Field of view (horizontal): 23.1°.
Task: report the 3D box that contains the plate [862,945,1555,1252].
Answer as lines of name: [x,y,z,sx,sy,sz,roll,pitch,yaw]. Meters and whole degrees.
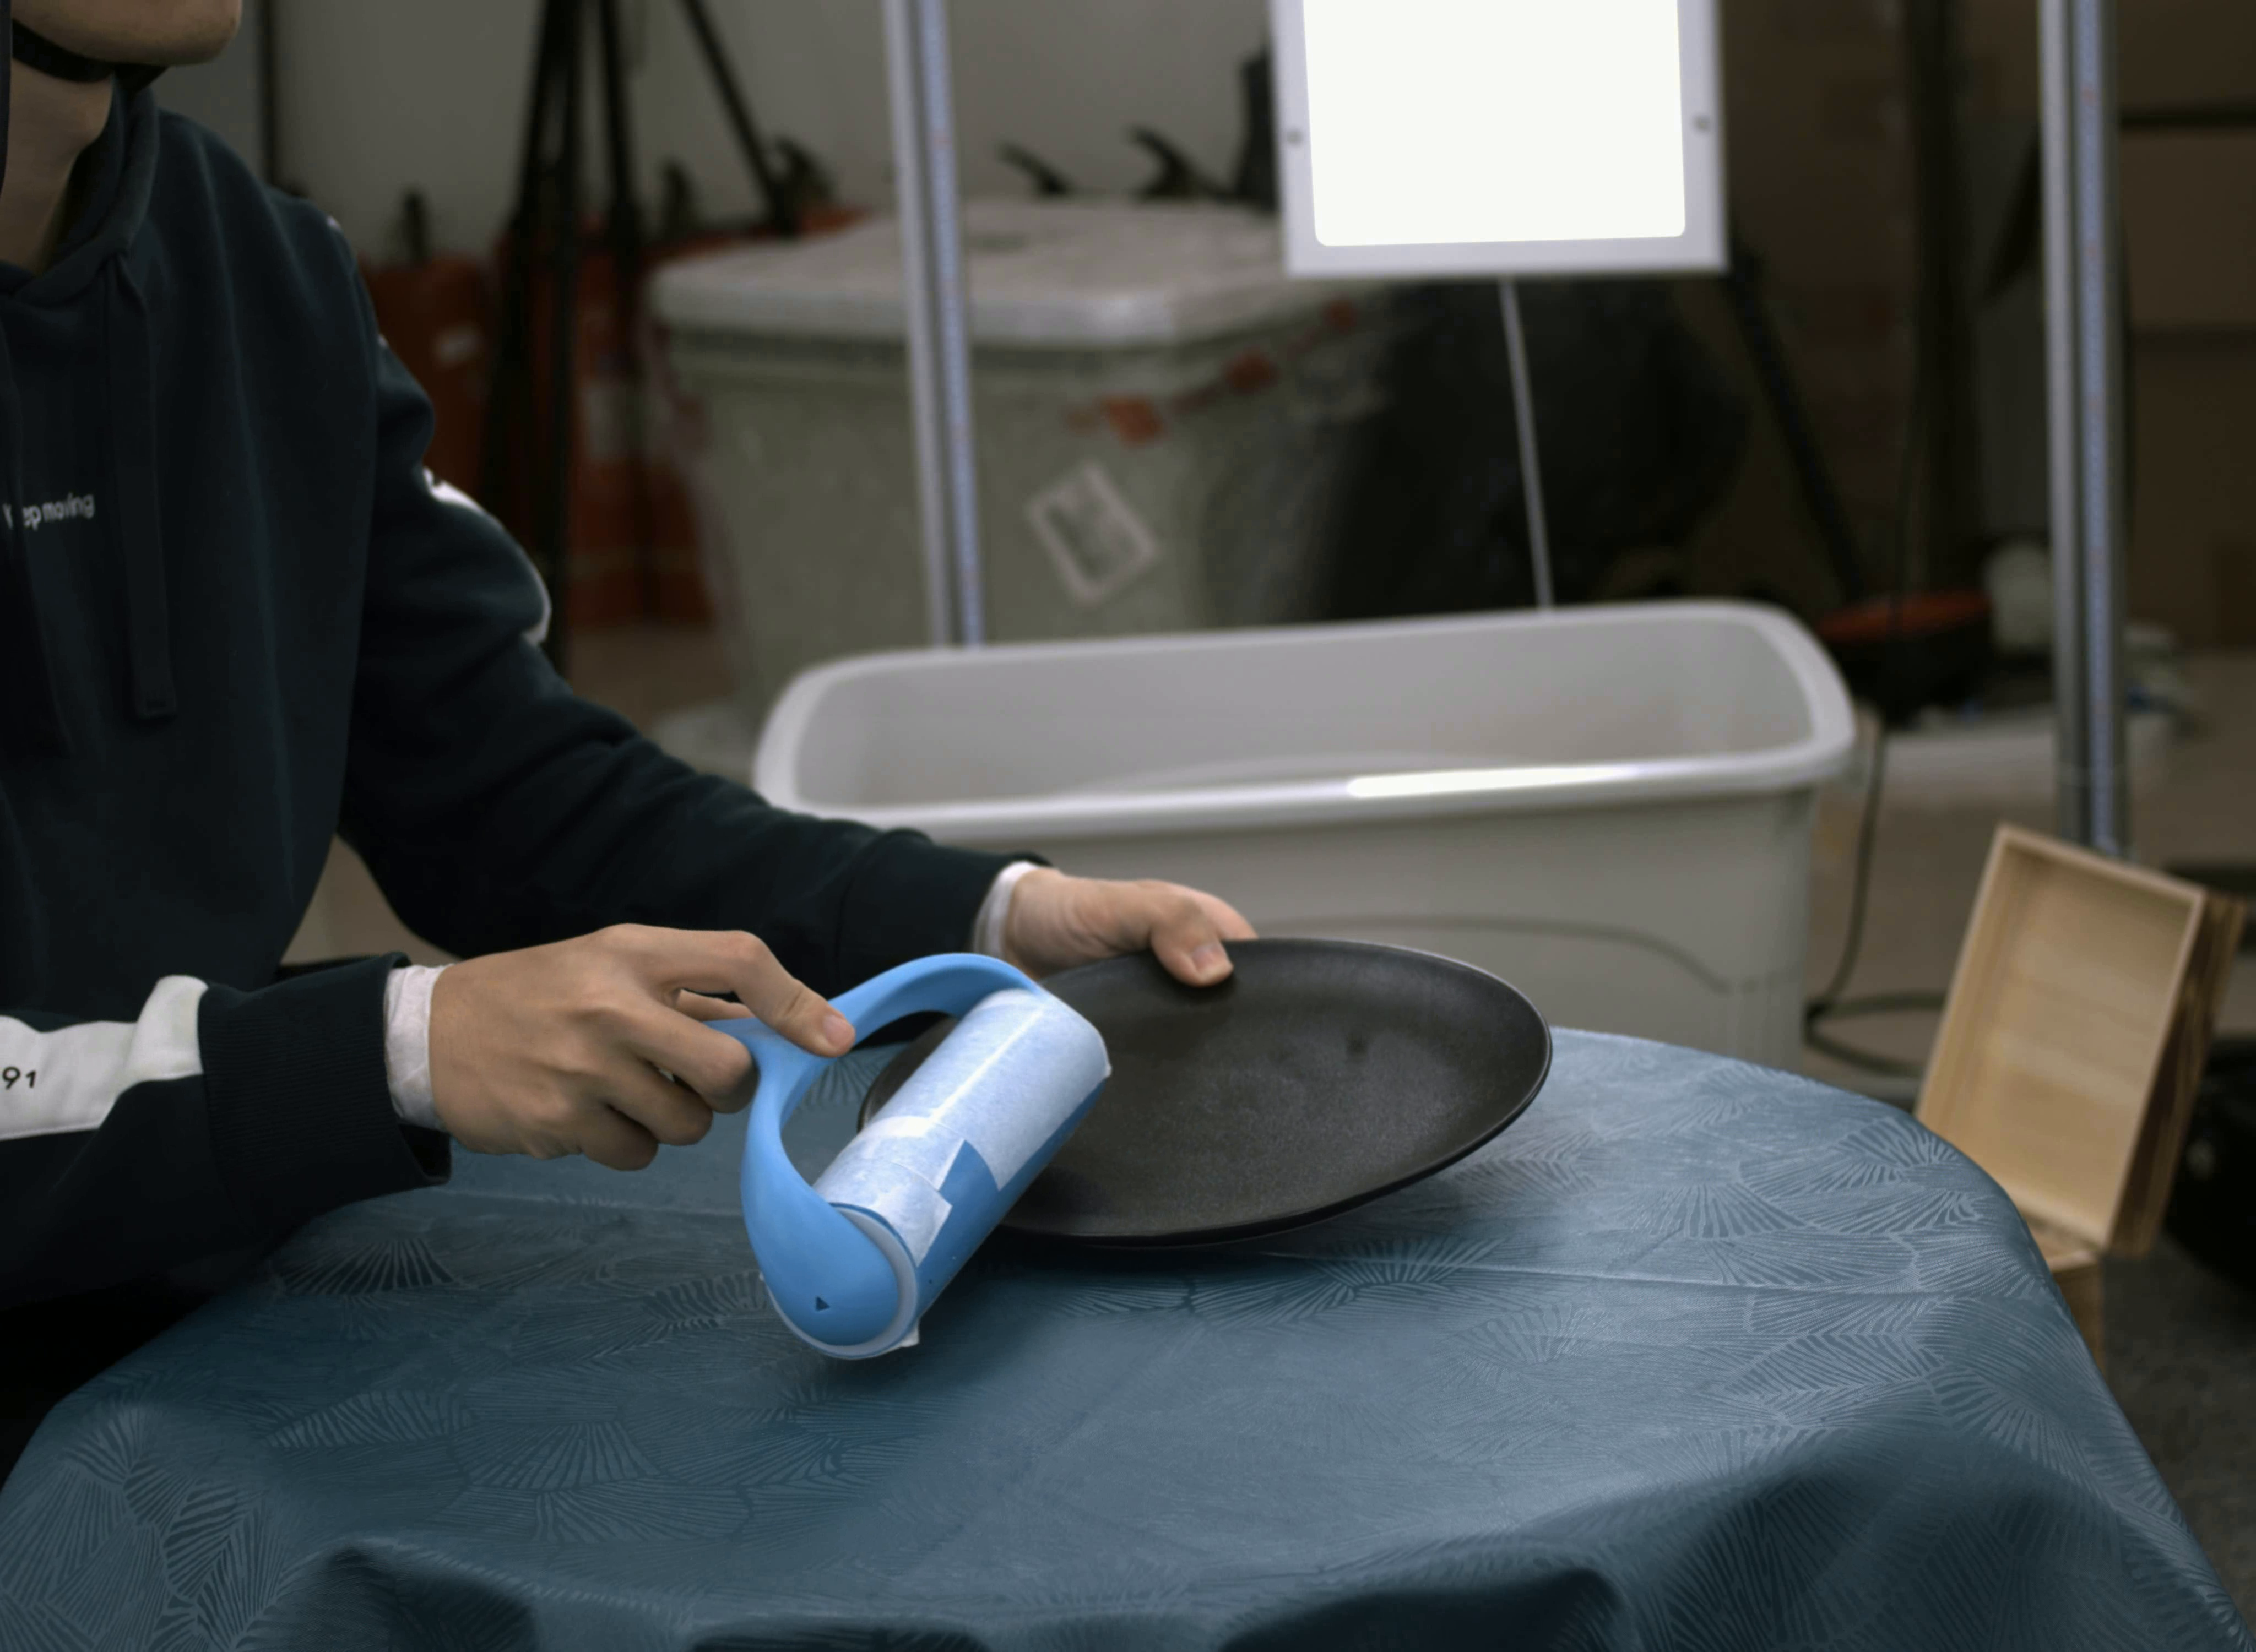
plate: [0.029,0.097,1.906,0.244,0.023,0.244,-8,21,2]

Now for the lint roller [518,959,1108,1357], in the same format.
lint roller: [-0.116,0.098,1.819,0.181,0.068,0.225,11,23,12]
